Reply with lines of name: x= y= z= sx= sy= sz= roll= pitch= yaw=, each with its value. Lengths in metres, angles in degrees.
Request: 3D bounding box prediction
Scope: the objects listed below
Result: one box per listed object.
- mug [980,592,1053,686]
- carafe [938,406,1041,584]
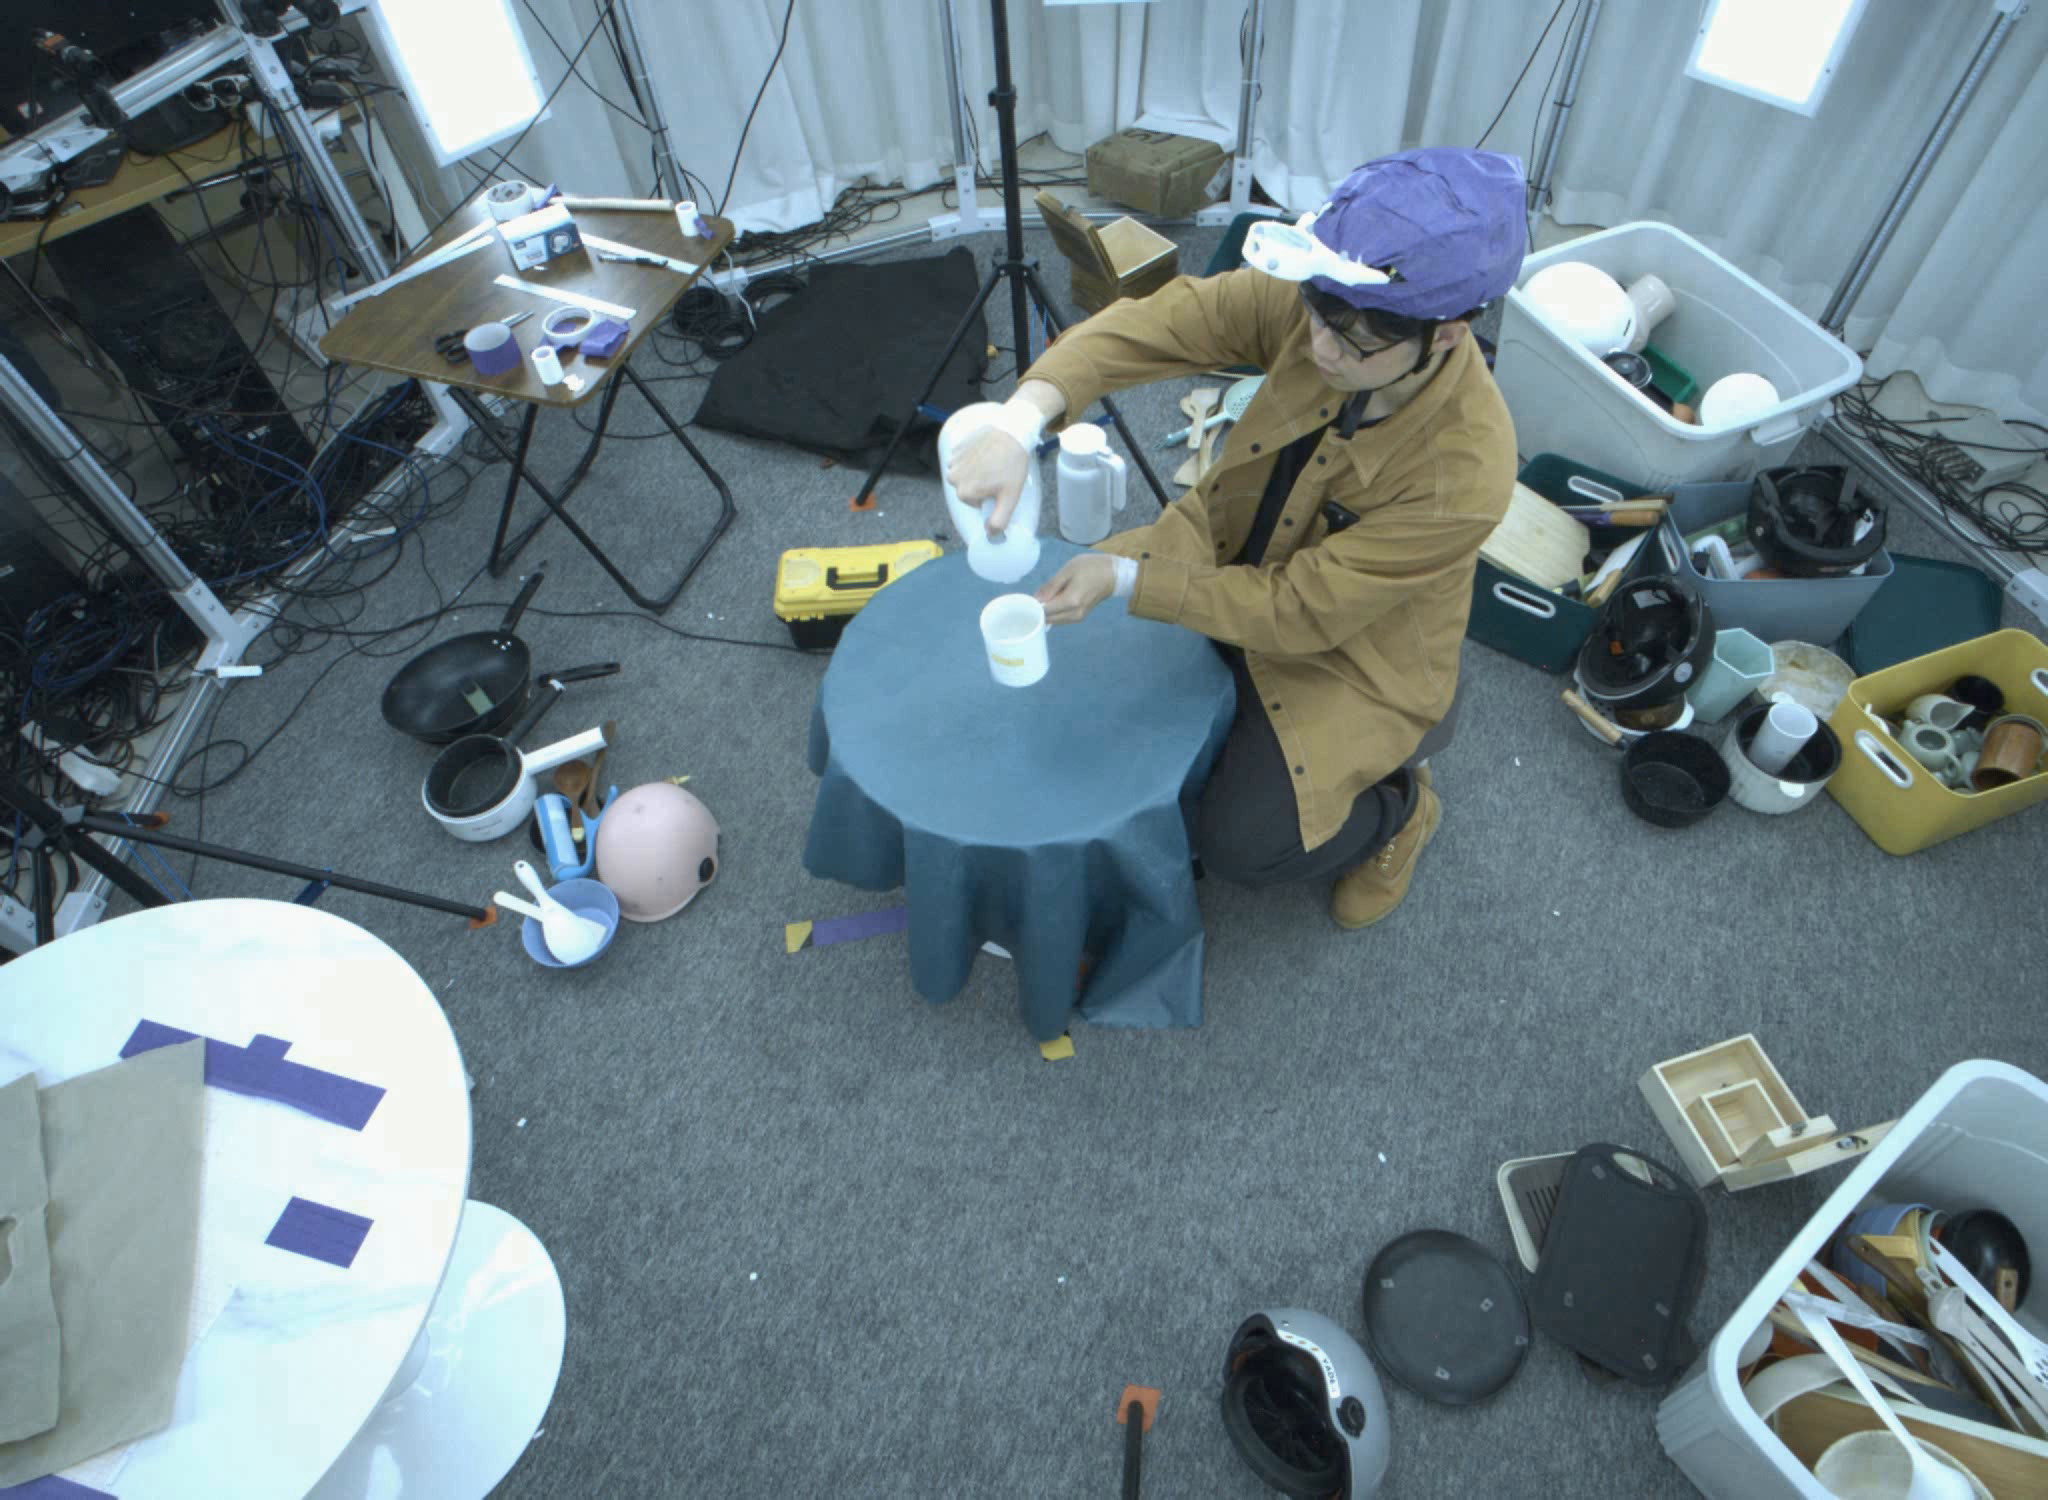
mug: x=-0.002 y=-0.158 z=1.669 sx=0.083 sy=0.103 sz=0.119 roll=31 pitch=64 yaw=23
carafe: x=-0.047 y=-0.343 z=1.583 sx=0.132 sy=0.170 sz=0.245 roll=-13 pitch=50 yaw=5
